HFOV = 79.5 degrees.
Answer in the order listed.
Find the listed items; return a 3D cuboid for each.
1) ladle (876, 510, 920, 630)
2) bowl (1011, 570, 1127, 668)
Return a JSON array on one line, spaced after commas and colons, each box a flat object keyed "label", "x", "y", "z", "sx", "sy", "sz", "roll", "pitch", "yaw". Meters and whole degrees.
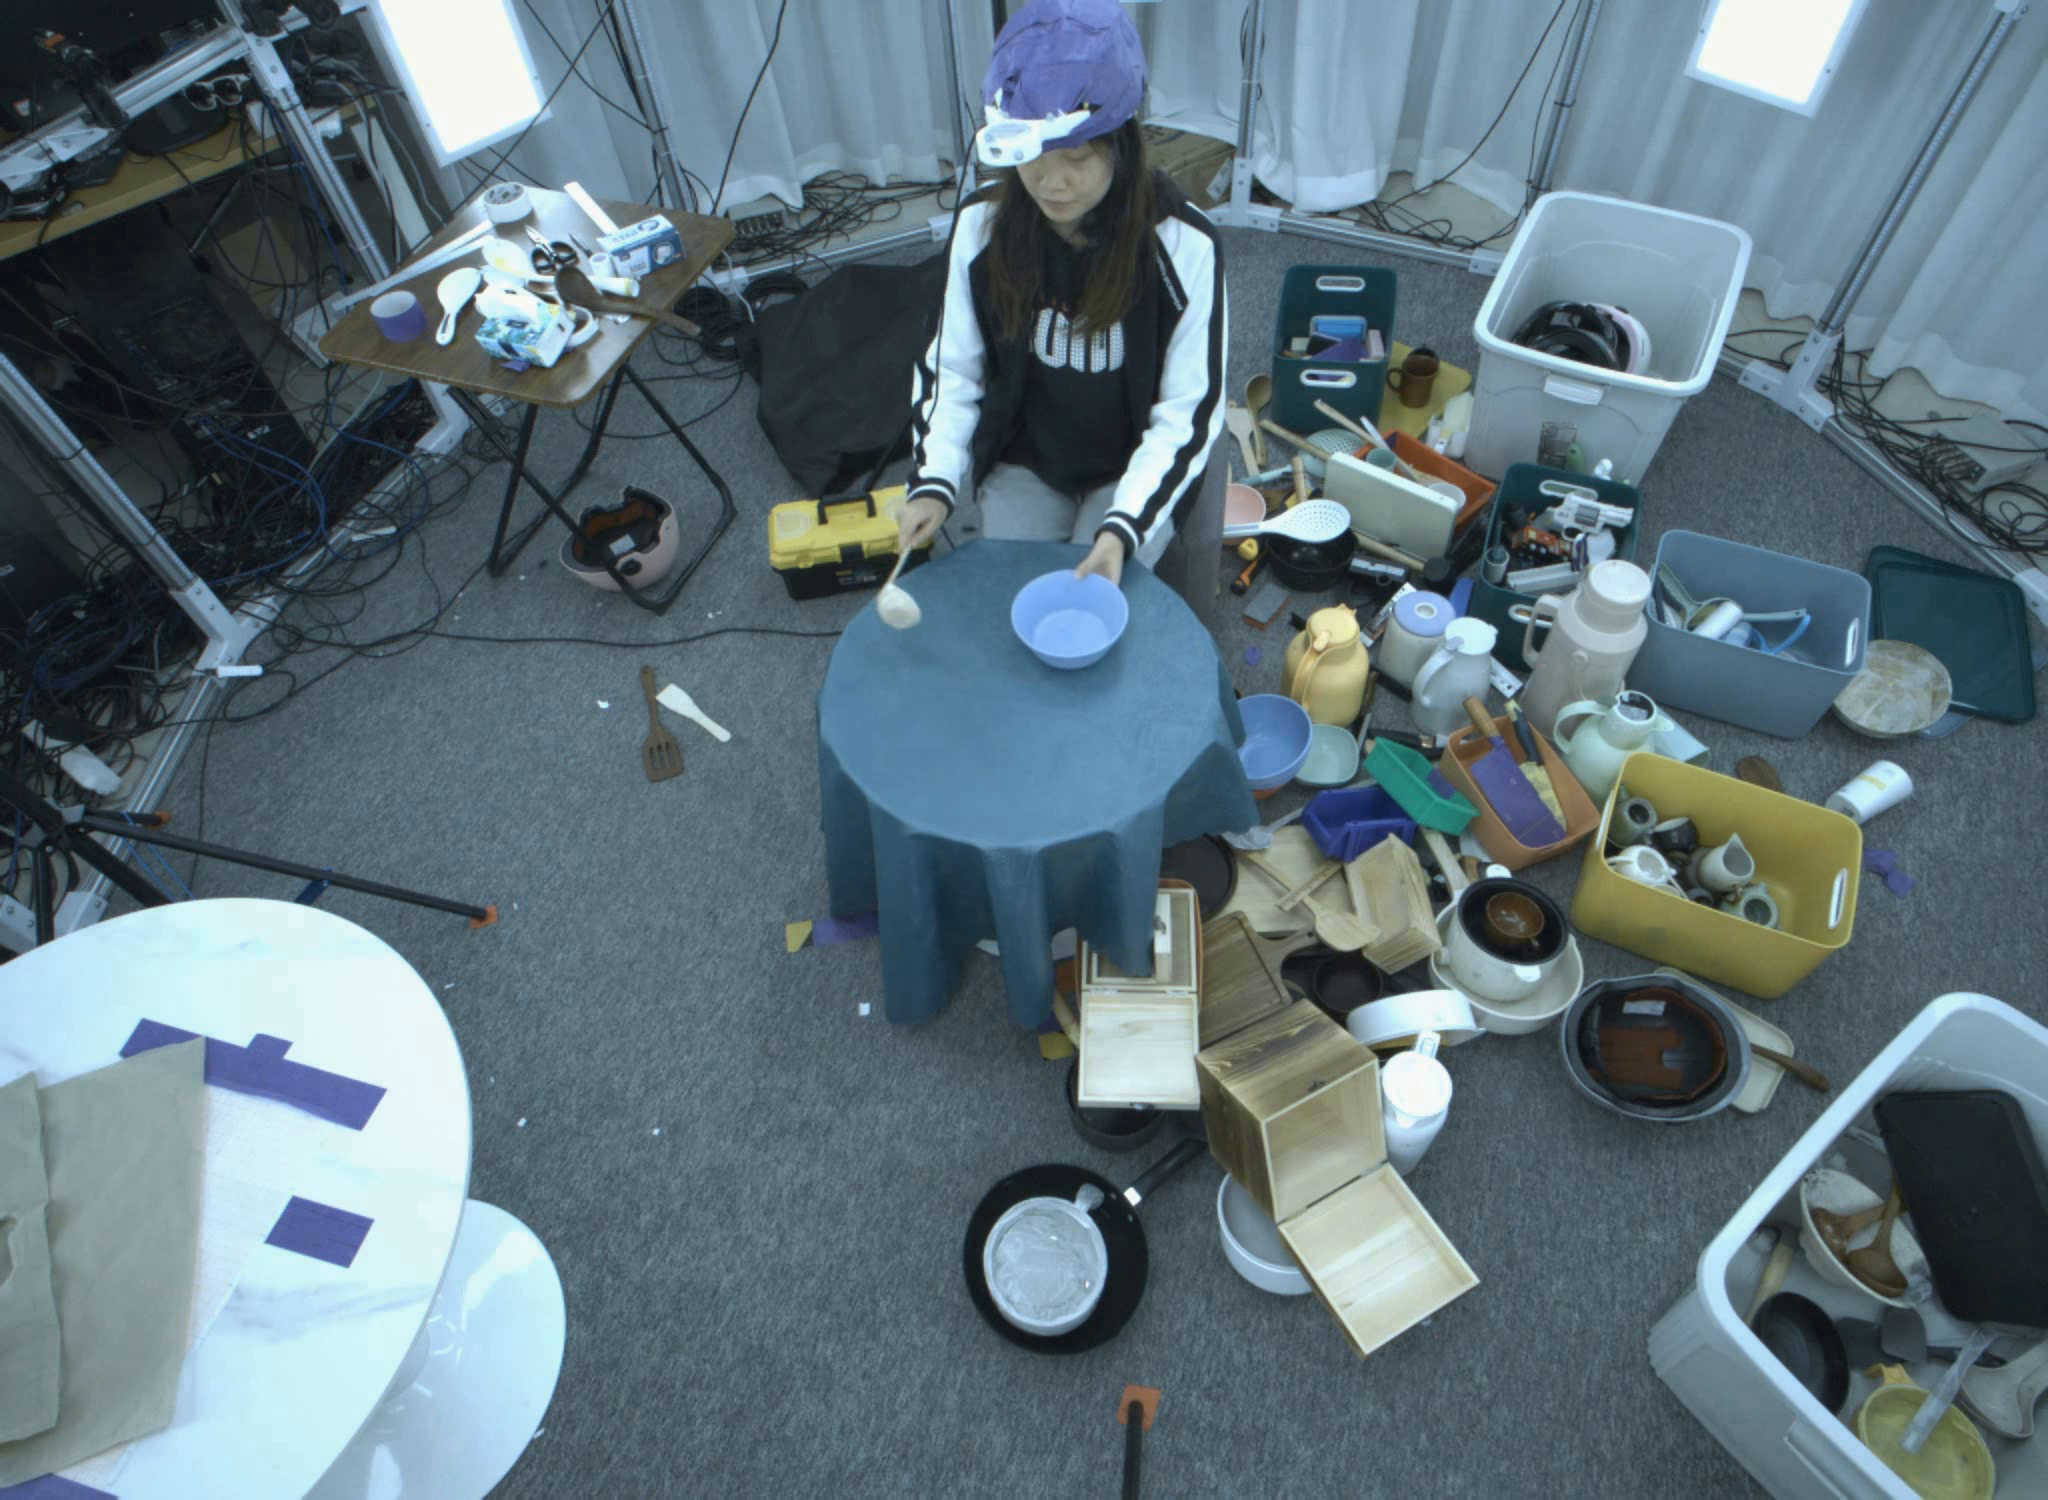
[{"label": "ladle", "x": -0.169, "y": -0.288, "z": 1.895, "sx": 0.072, "sy": 0.073, "sz": 0.253, "roll": 8, "pitch": 51, "yaw": 8}, {"label": "bowl", "x": 0.068, "y": -0.190, "z": 1.877, "sx": 0.176, "sy": 0.071, "sz": 0.174, "roll": 0, "pitch": 55, "yaw": 1}]
